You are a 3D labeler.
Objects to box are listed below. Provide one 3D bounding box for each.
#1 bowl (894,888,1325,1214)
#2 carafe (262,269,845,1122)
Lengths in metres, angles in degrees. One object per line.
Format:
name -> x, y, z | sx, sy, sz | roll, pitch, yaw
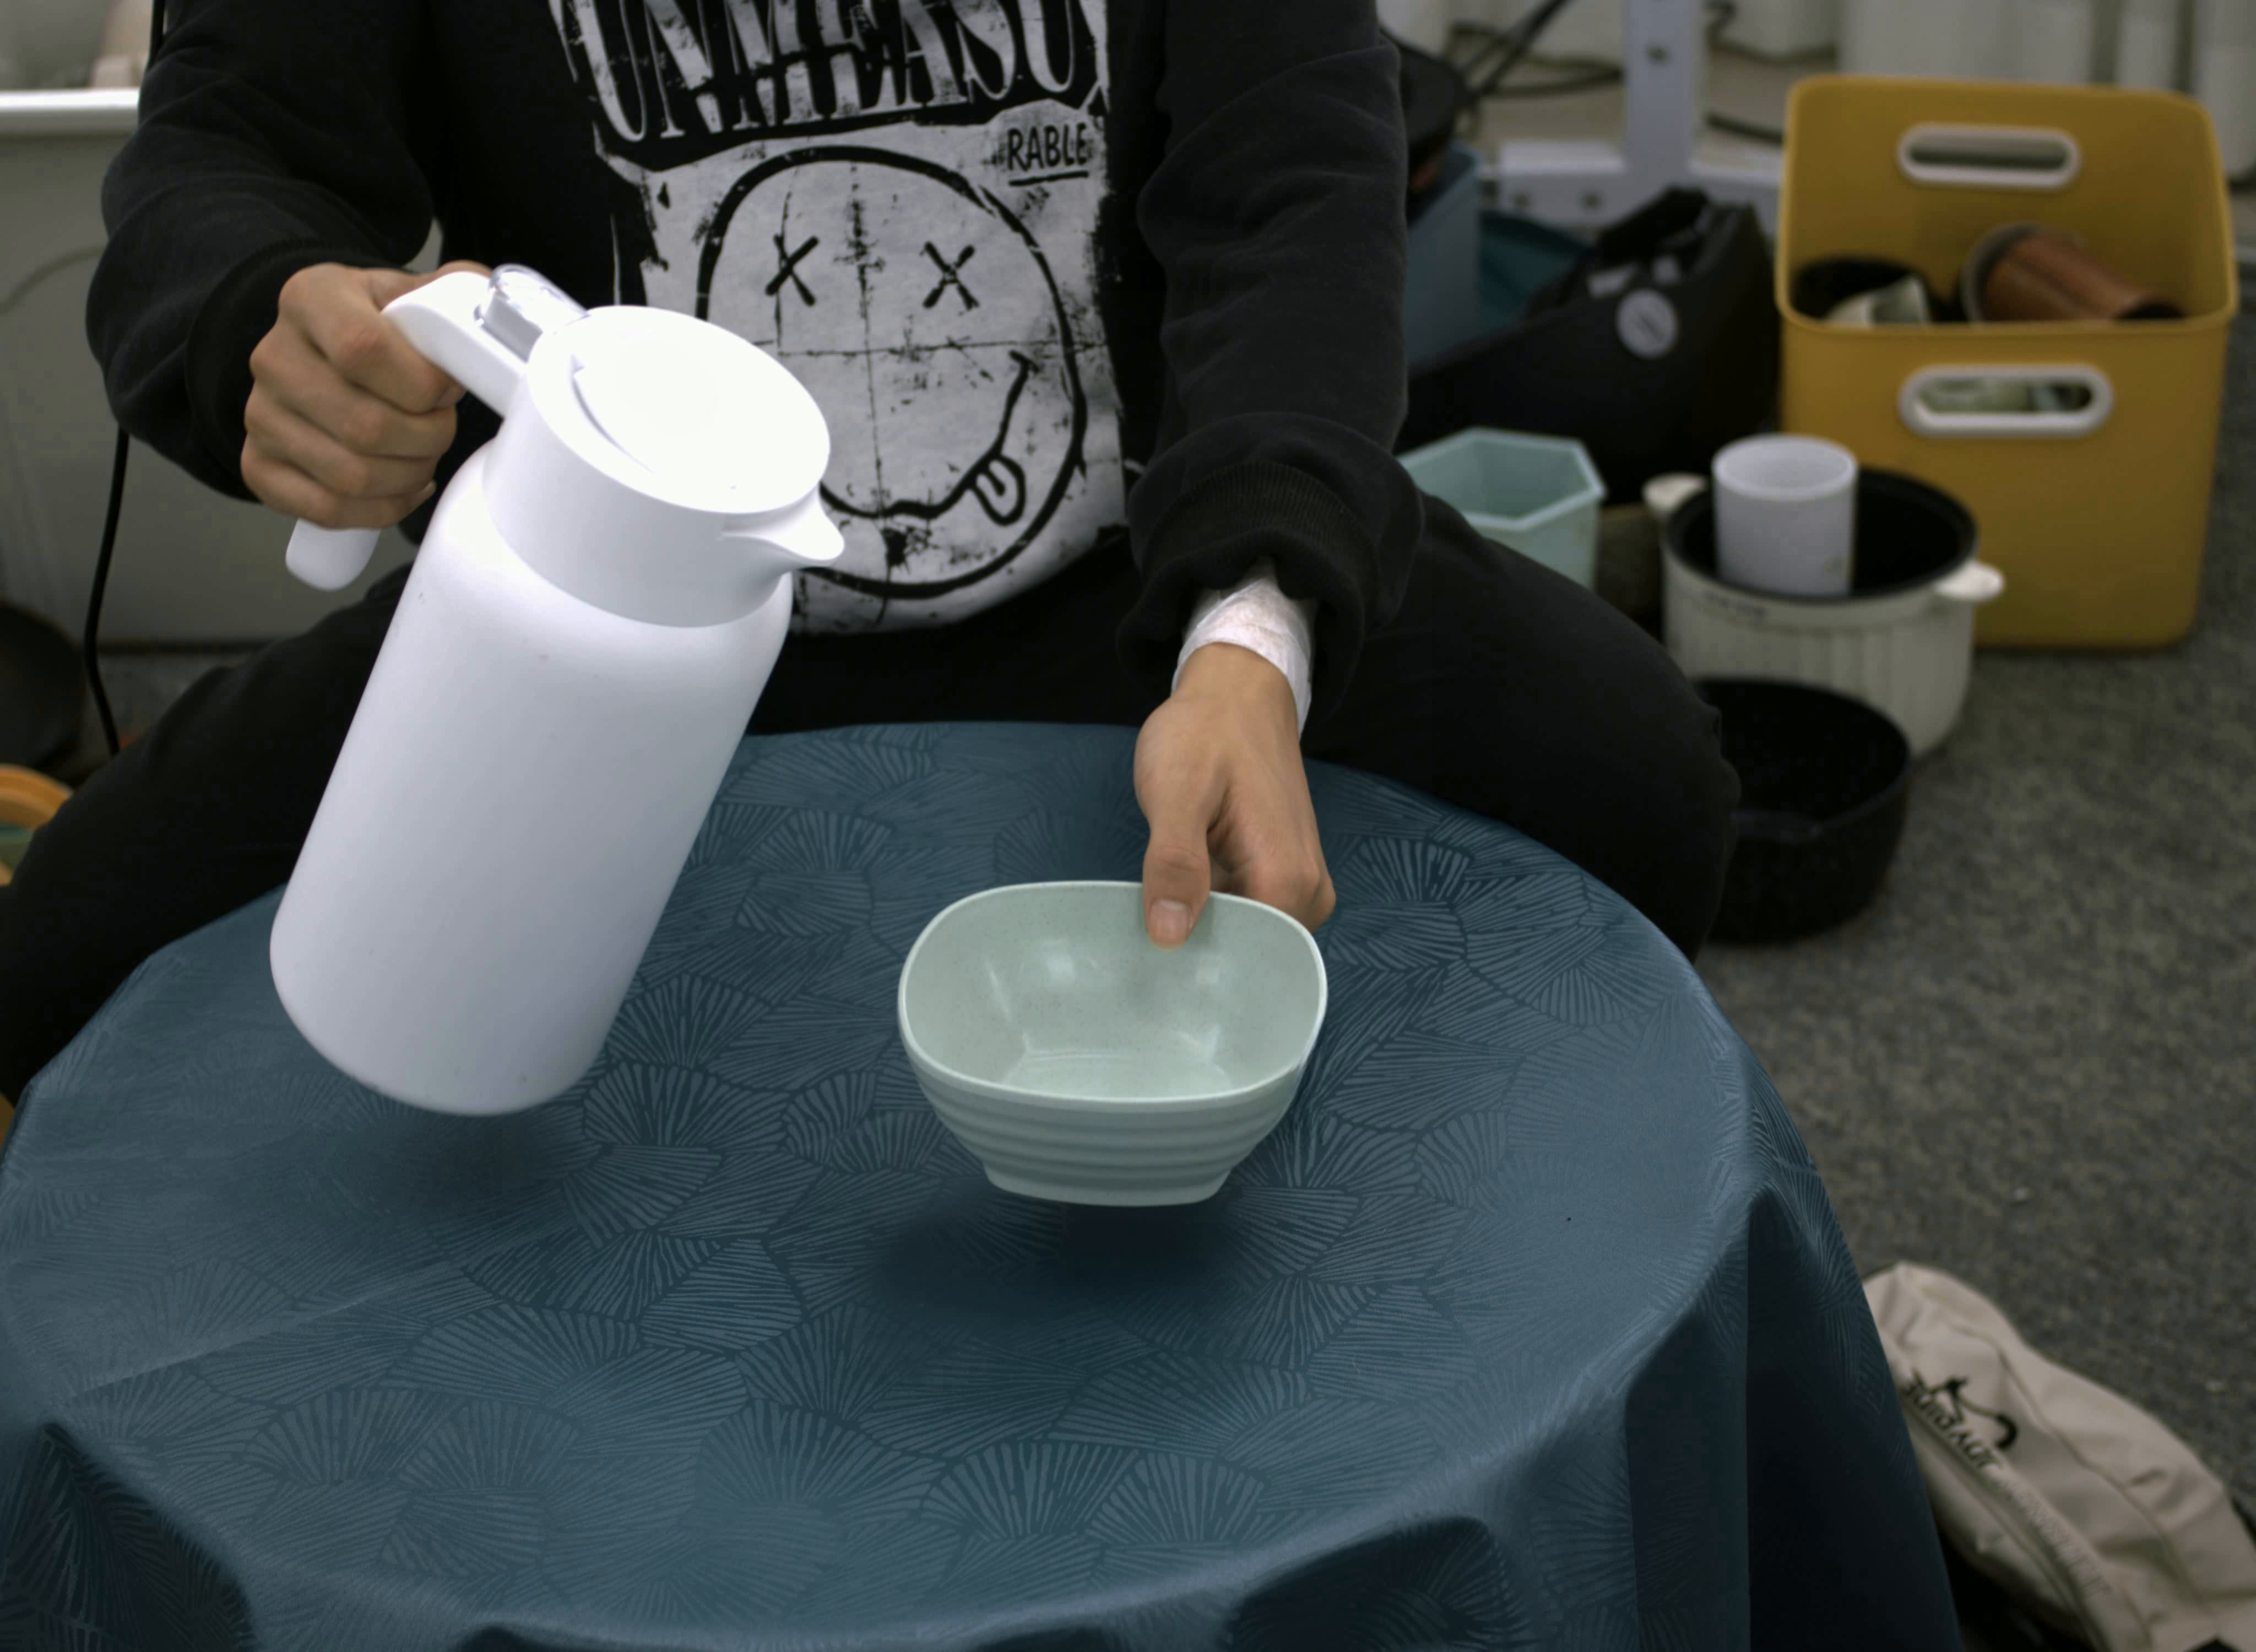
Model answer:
bowl -> -0.007, 0.079, 1.820 | 0.151, 0.058, 0.154 | 2, 28, 0
carafe -> -0.201, -0.044, 1.806 | 0.173, 0.264, 0.126 | 36, 38, 14
